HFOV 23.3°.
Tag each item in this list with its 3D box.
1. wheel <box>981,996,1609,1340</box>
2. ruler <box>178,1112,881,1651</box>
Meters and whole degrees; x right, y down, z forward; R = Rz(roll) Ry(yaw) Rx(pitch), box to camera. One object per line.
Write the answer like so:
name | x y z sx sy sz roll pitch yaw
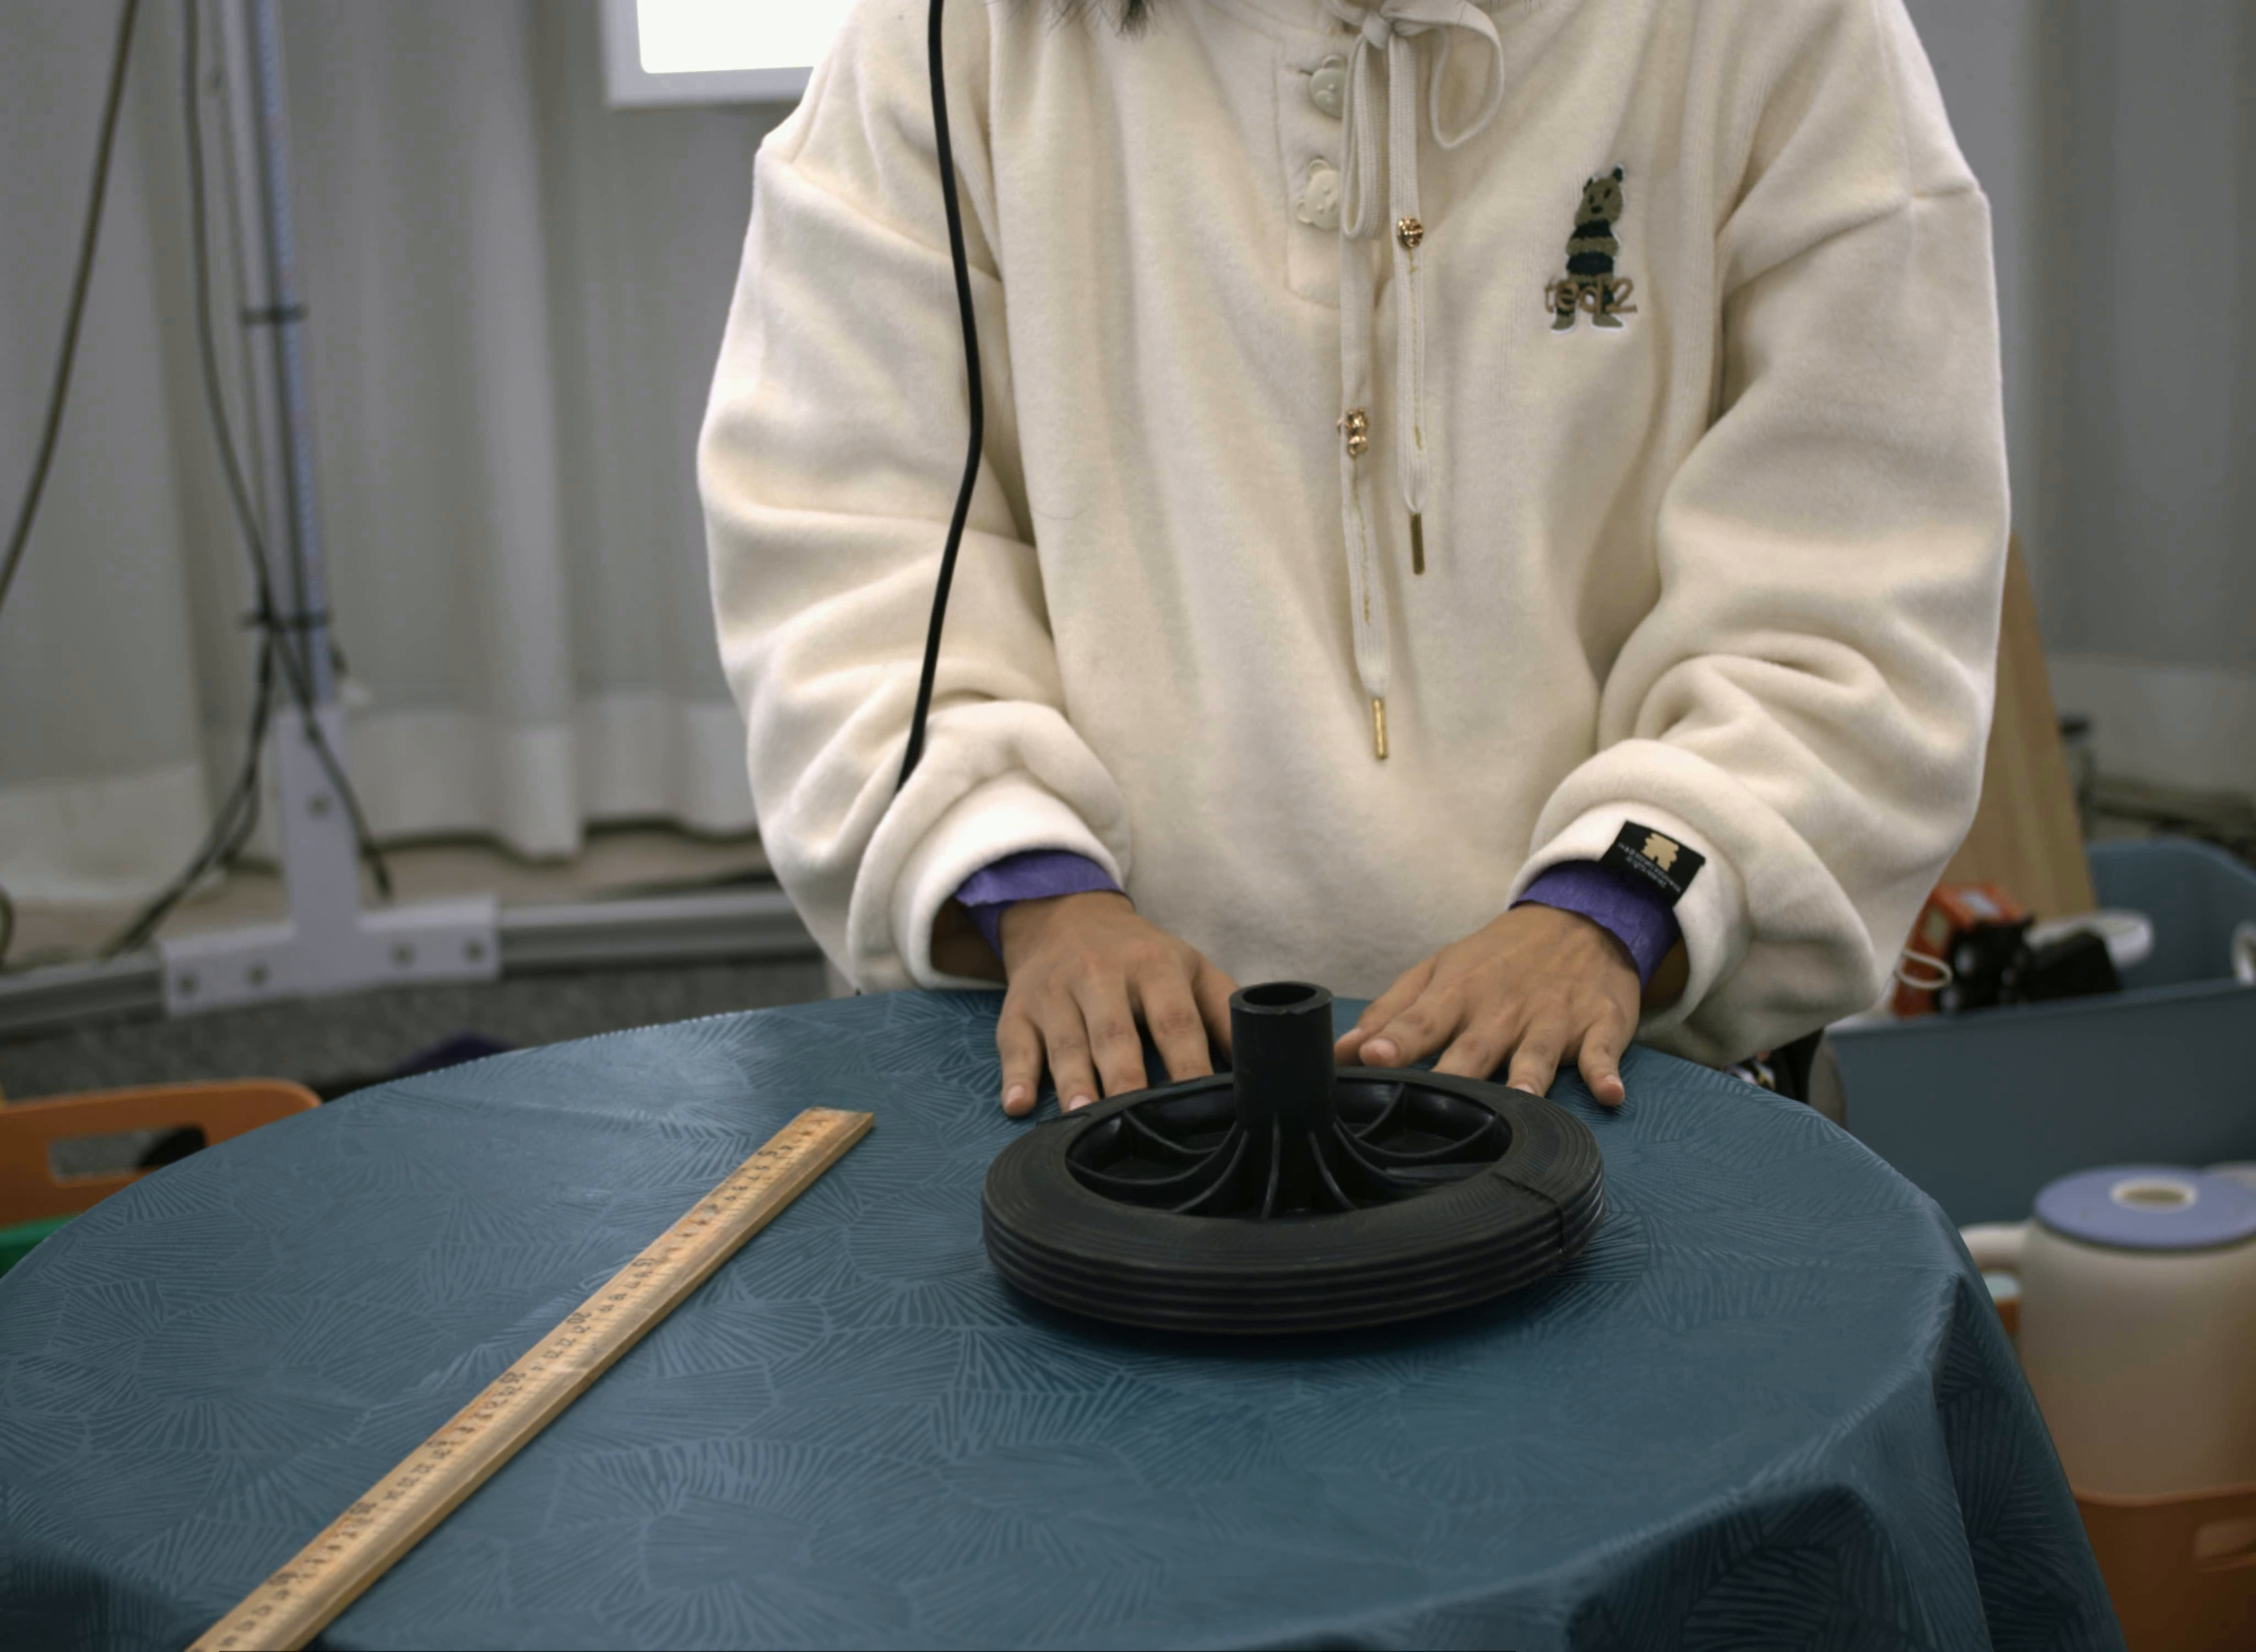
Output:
wheel | 0.049 0.093 1.639 0.189 0.079 0.189 -9 16 -18
ruler | -0.169 0.160 1.565 0.027 0.006 0.502 1 15 18
